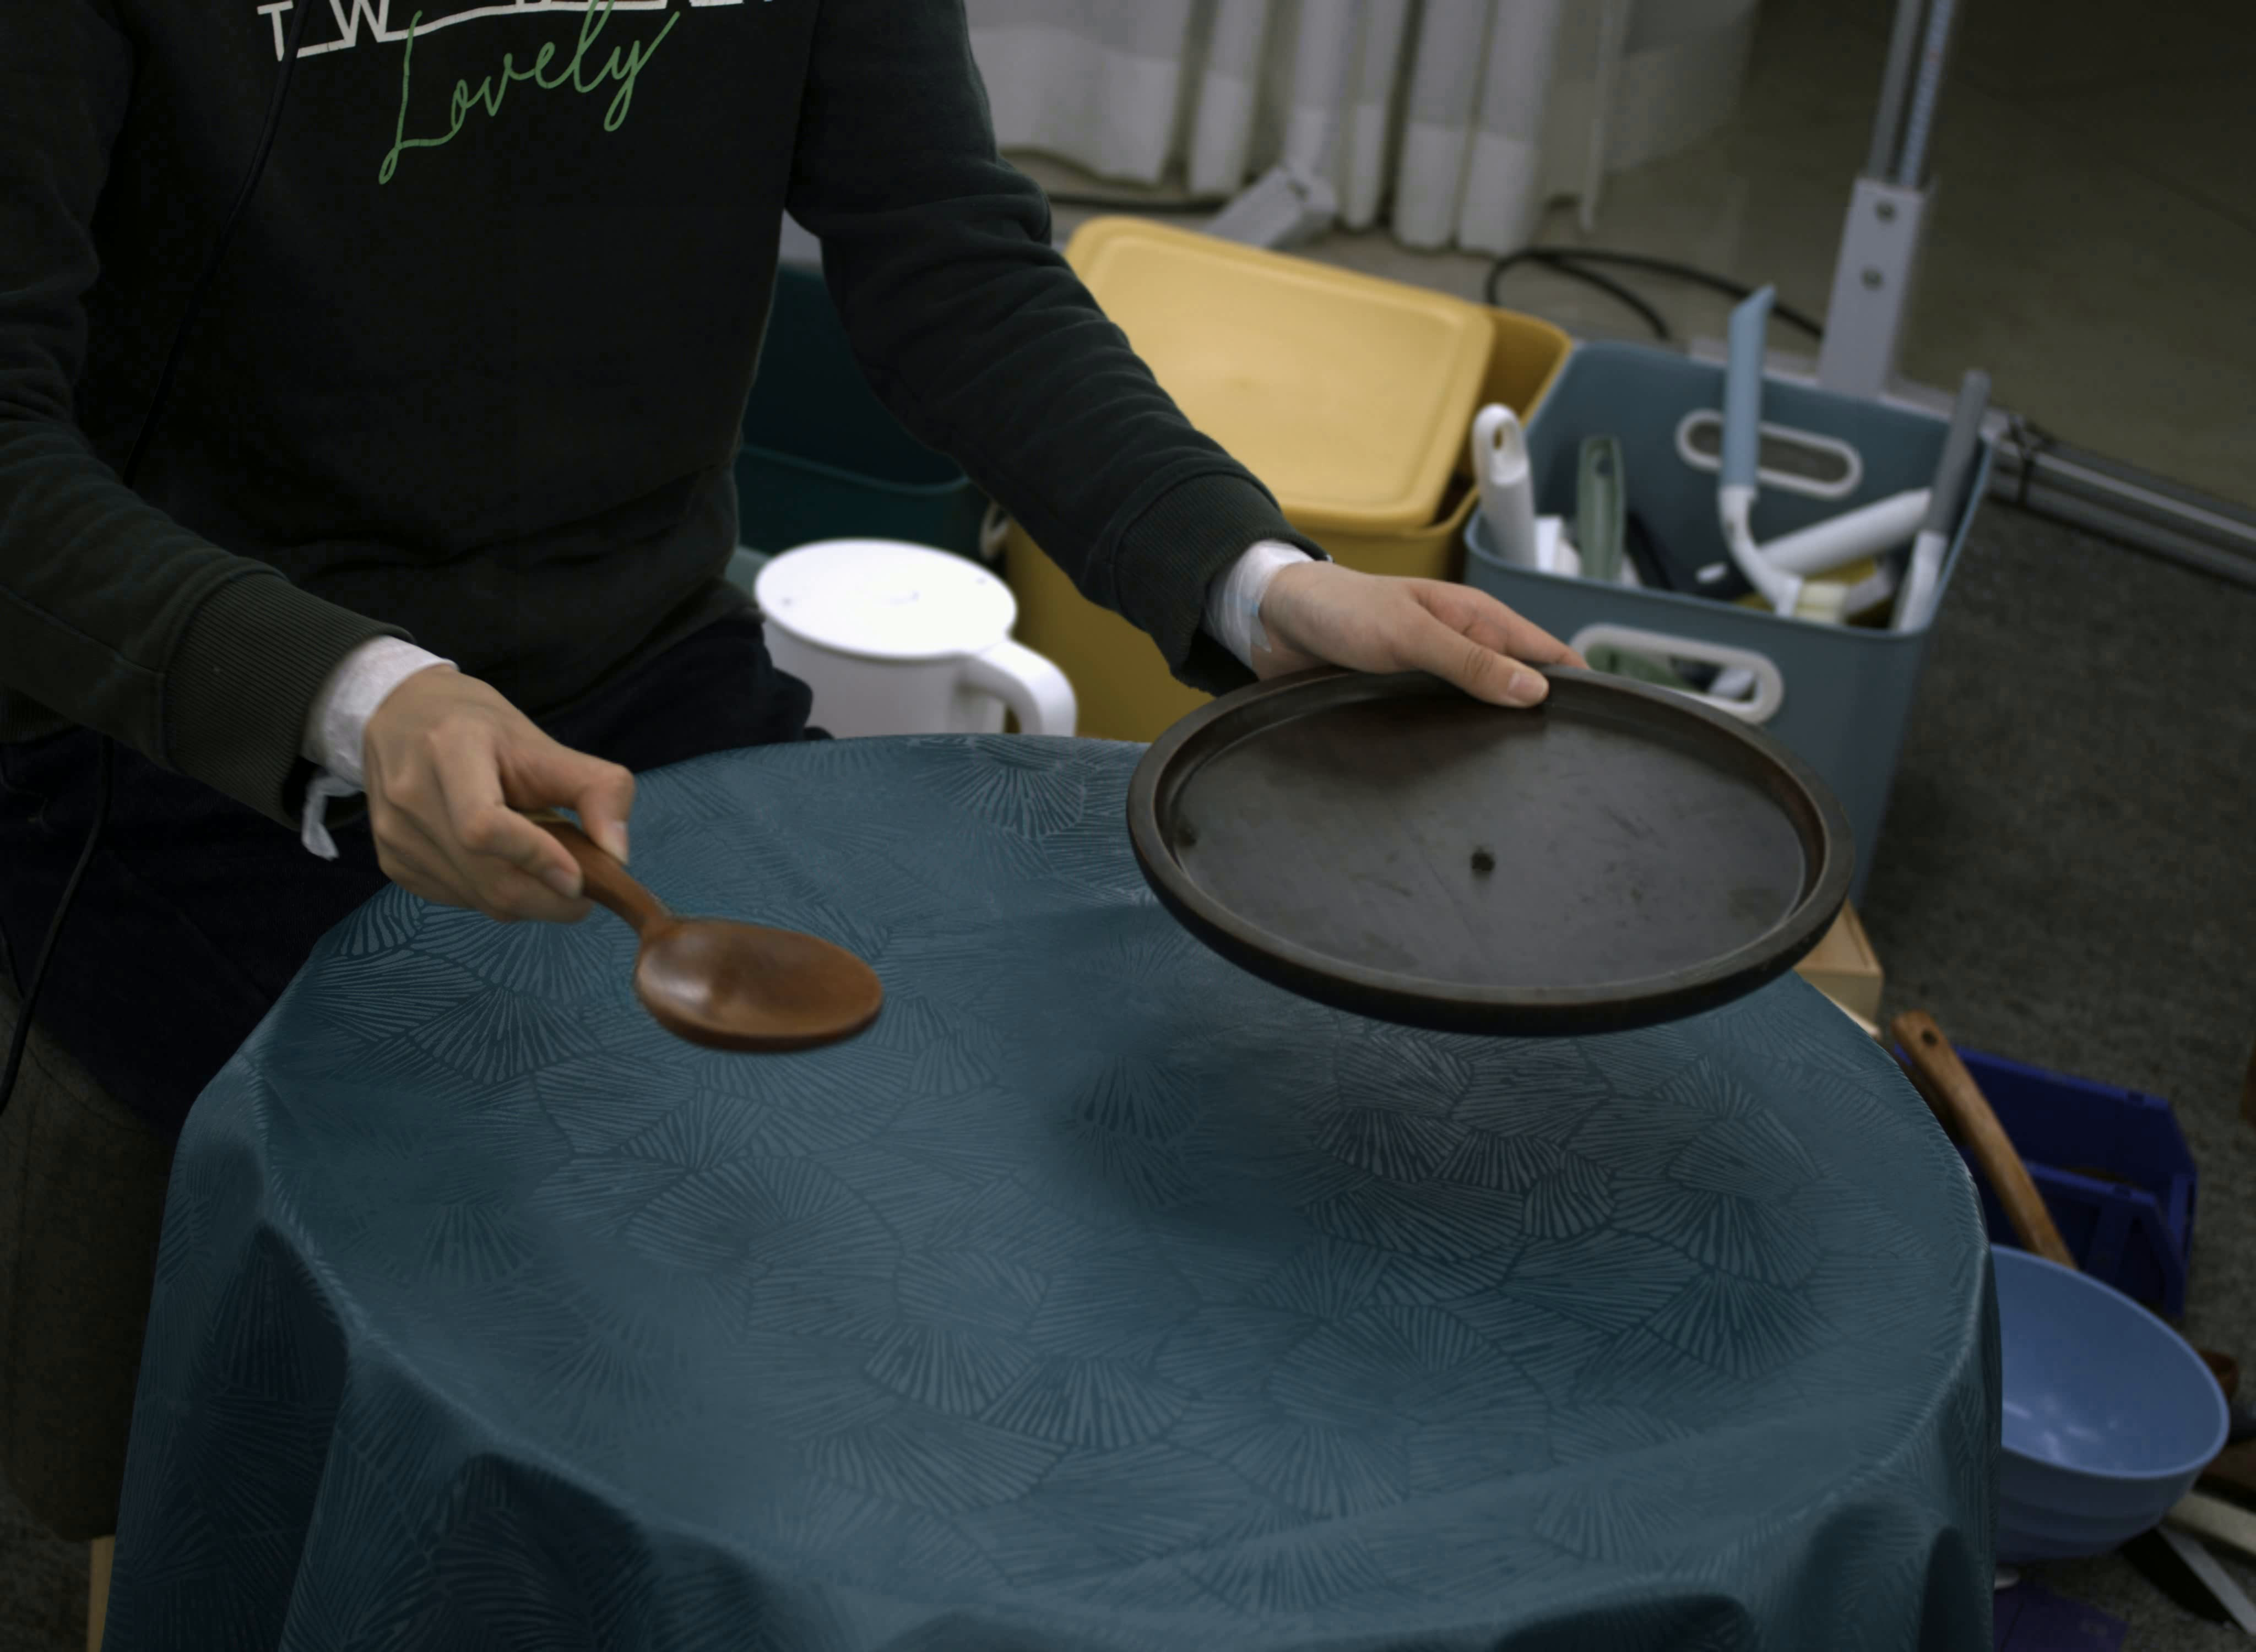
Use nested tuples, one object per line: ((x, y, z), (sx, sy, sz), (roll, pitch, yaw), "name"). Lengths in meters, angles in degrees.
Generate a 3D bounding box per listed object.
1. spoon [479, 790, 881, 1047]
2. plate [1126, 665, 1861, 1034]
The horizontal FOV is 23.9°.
((-0.151, 0.030, 1.704), (0.075, 0.017, 0.217), (-12, 26, -31), "spoon")
((0.126, 0.006, 1.839), (0.254, 0.029, 0.256), (2, 28, -2), "plate")
